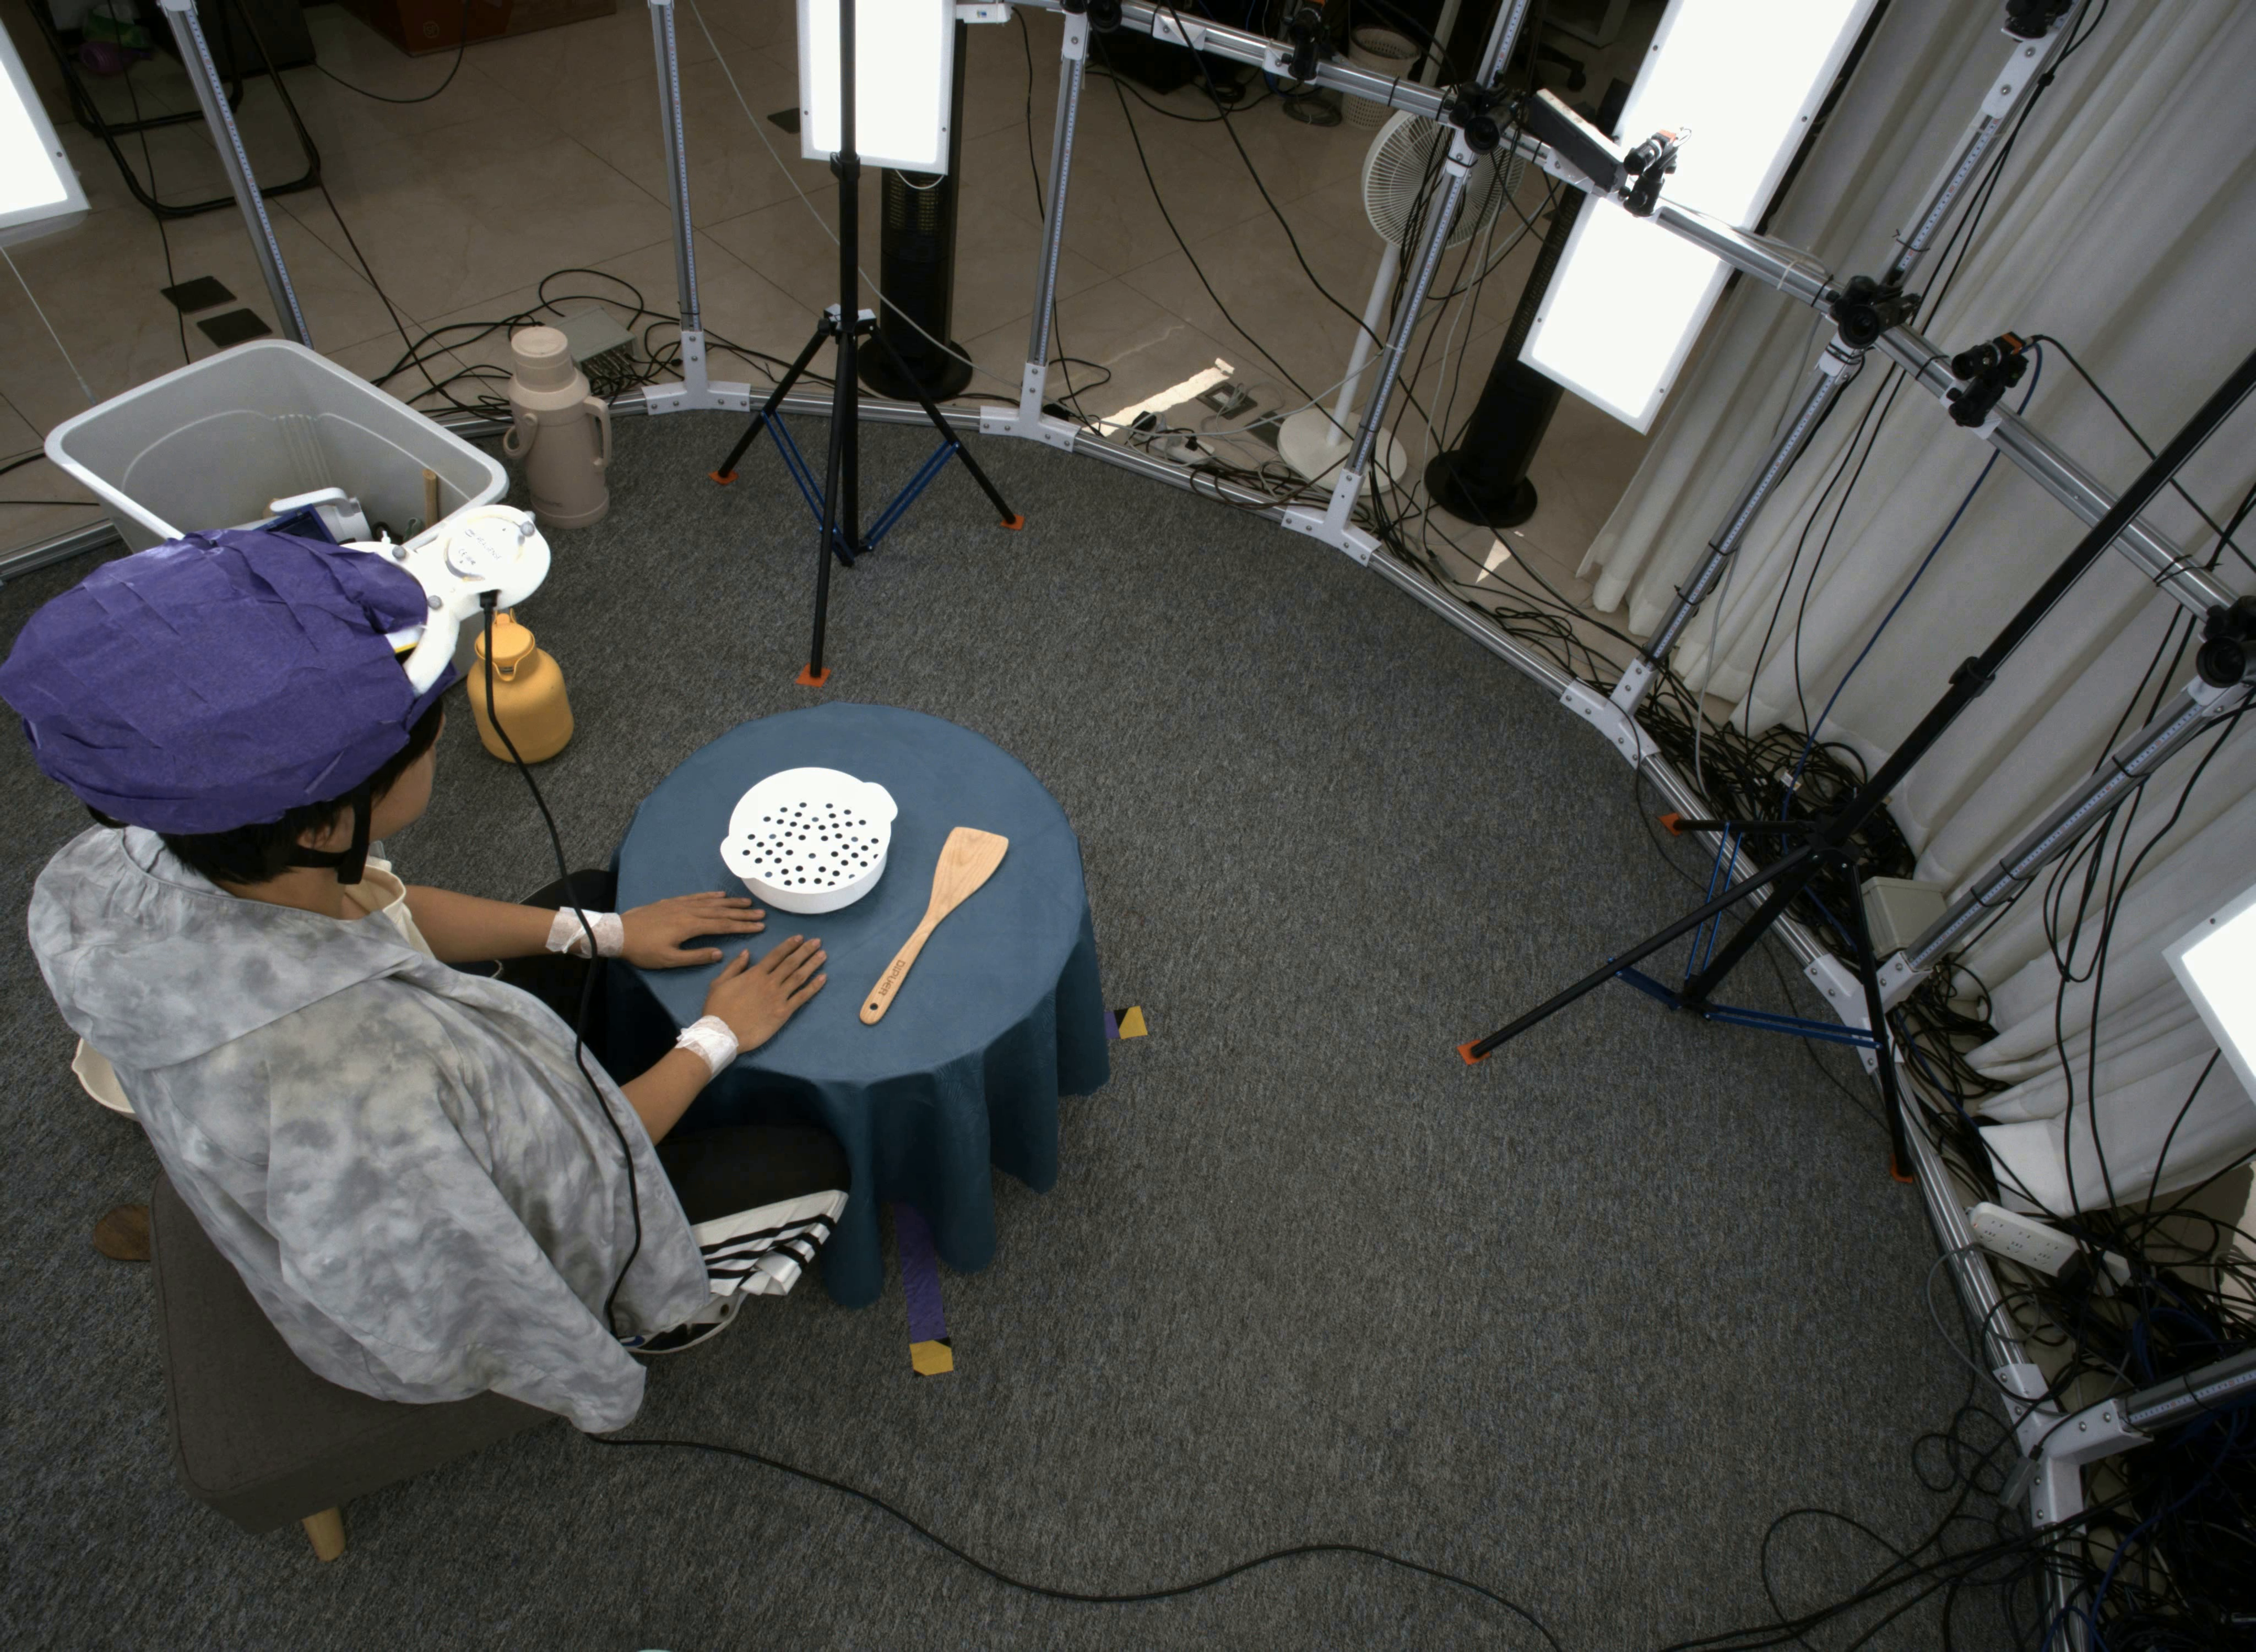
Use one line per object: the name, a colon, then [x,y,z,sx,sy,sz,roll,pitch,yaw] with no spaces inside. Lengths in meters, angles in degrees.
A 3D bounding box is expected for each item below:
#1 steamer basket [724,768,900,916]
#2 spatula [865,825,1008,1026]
steamer basket: [-0.403,0.020,1.675,0.231,0.071,0.196,-25,61,-27]
spatula: [-0.253,0.120,1.669,0.079,0.017,0.325,23,52,5]
